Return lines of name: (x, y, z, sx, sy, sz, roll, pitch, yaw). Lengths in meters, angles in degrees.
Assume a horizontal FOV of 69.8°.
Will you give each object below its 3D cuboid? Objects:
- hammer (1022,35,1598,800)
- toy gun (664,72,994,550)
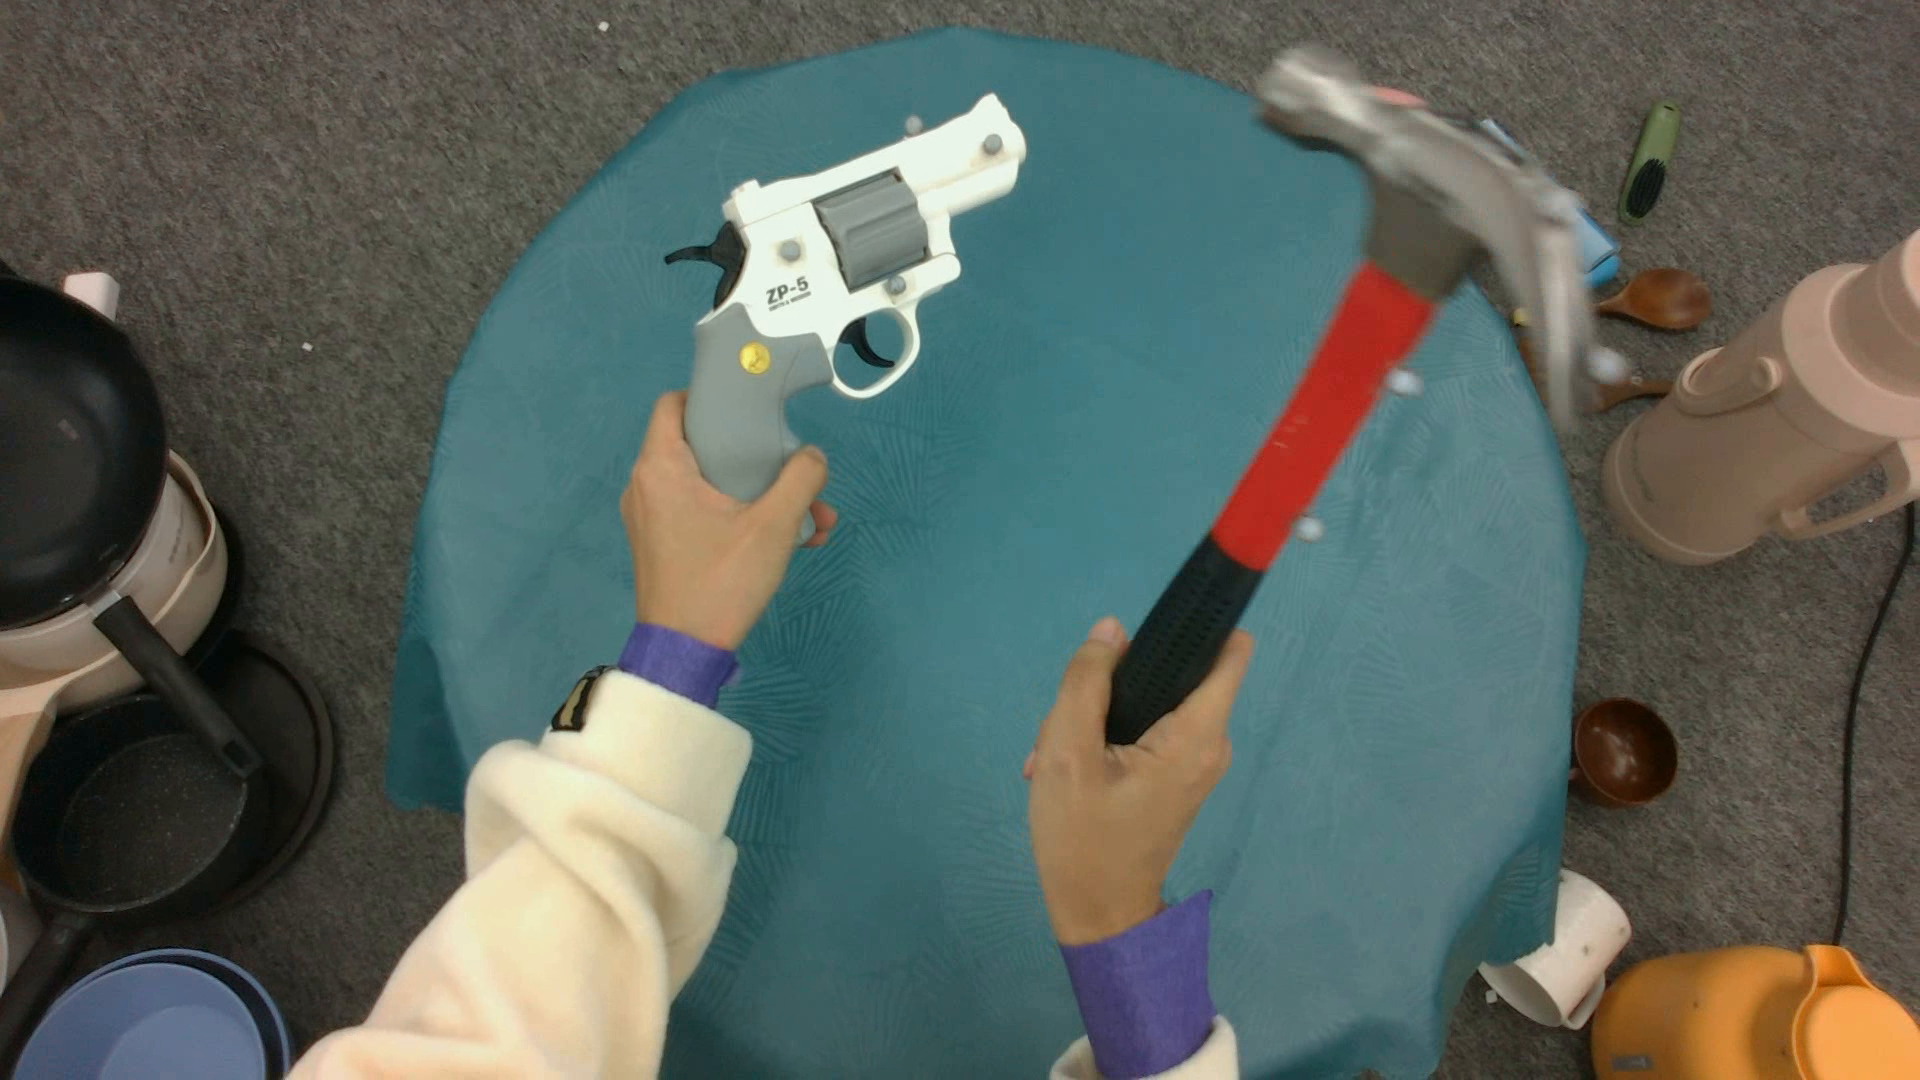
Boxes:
hammer: (0.087, -0.004, 0.427, 0.111, 0.276, 0.026, 41, 41, 14)
toy gun: (-0.052, -0.098, 0.583, 0.210, 0.039, 0.141, -31, 103, -22)
